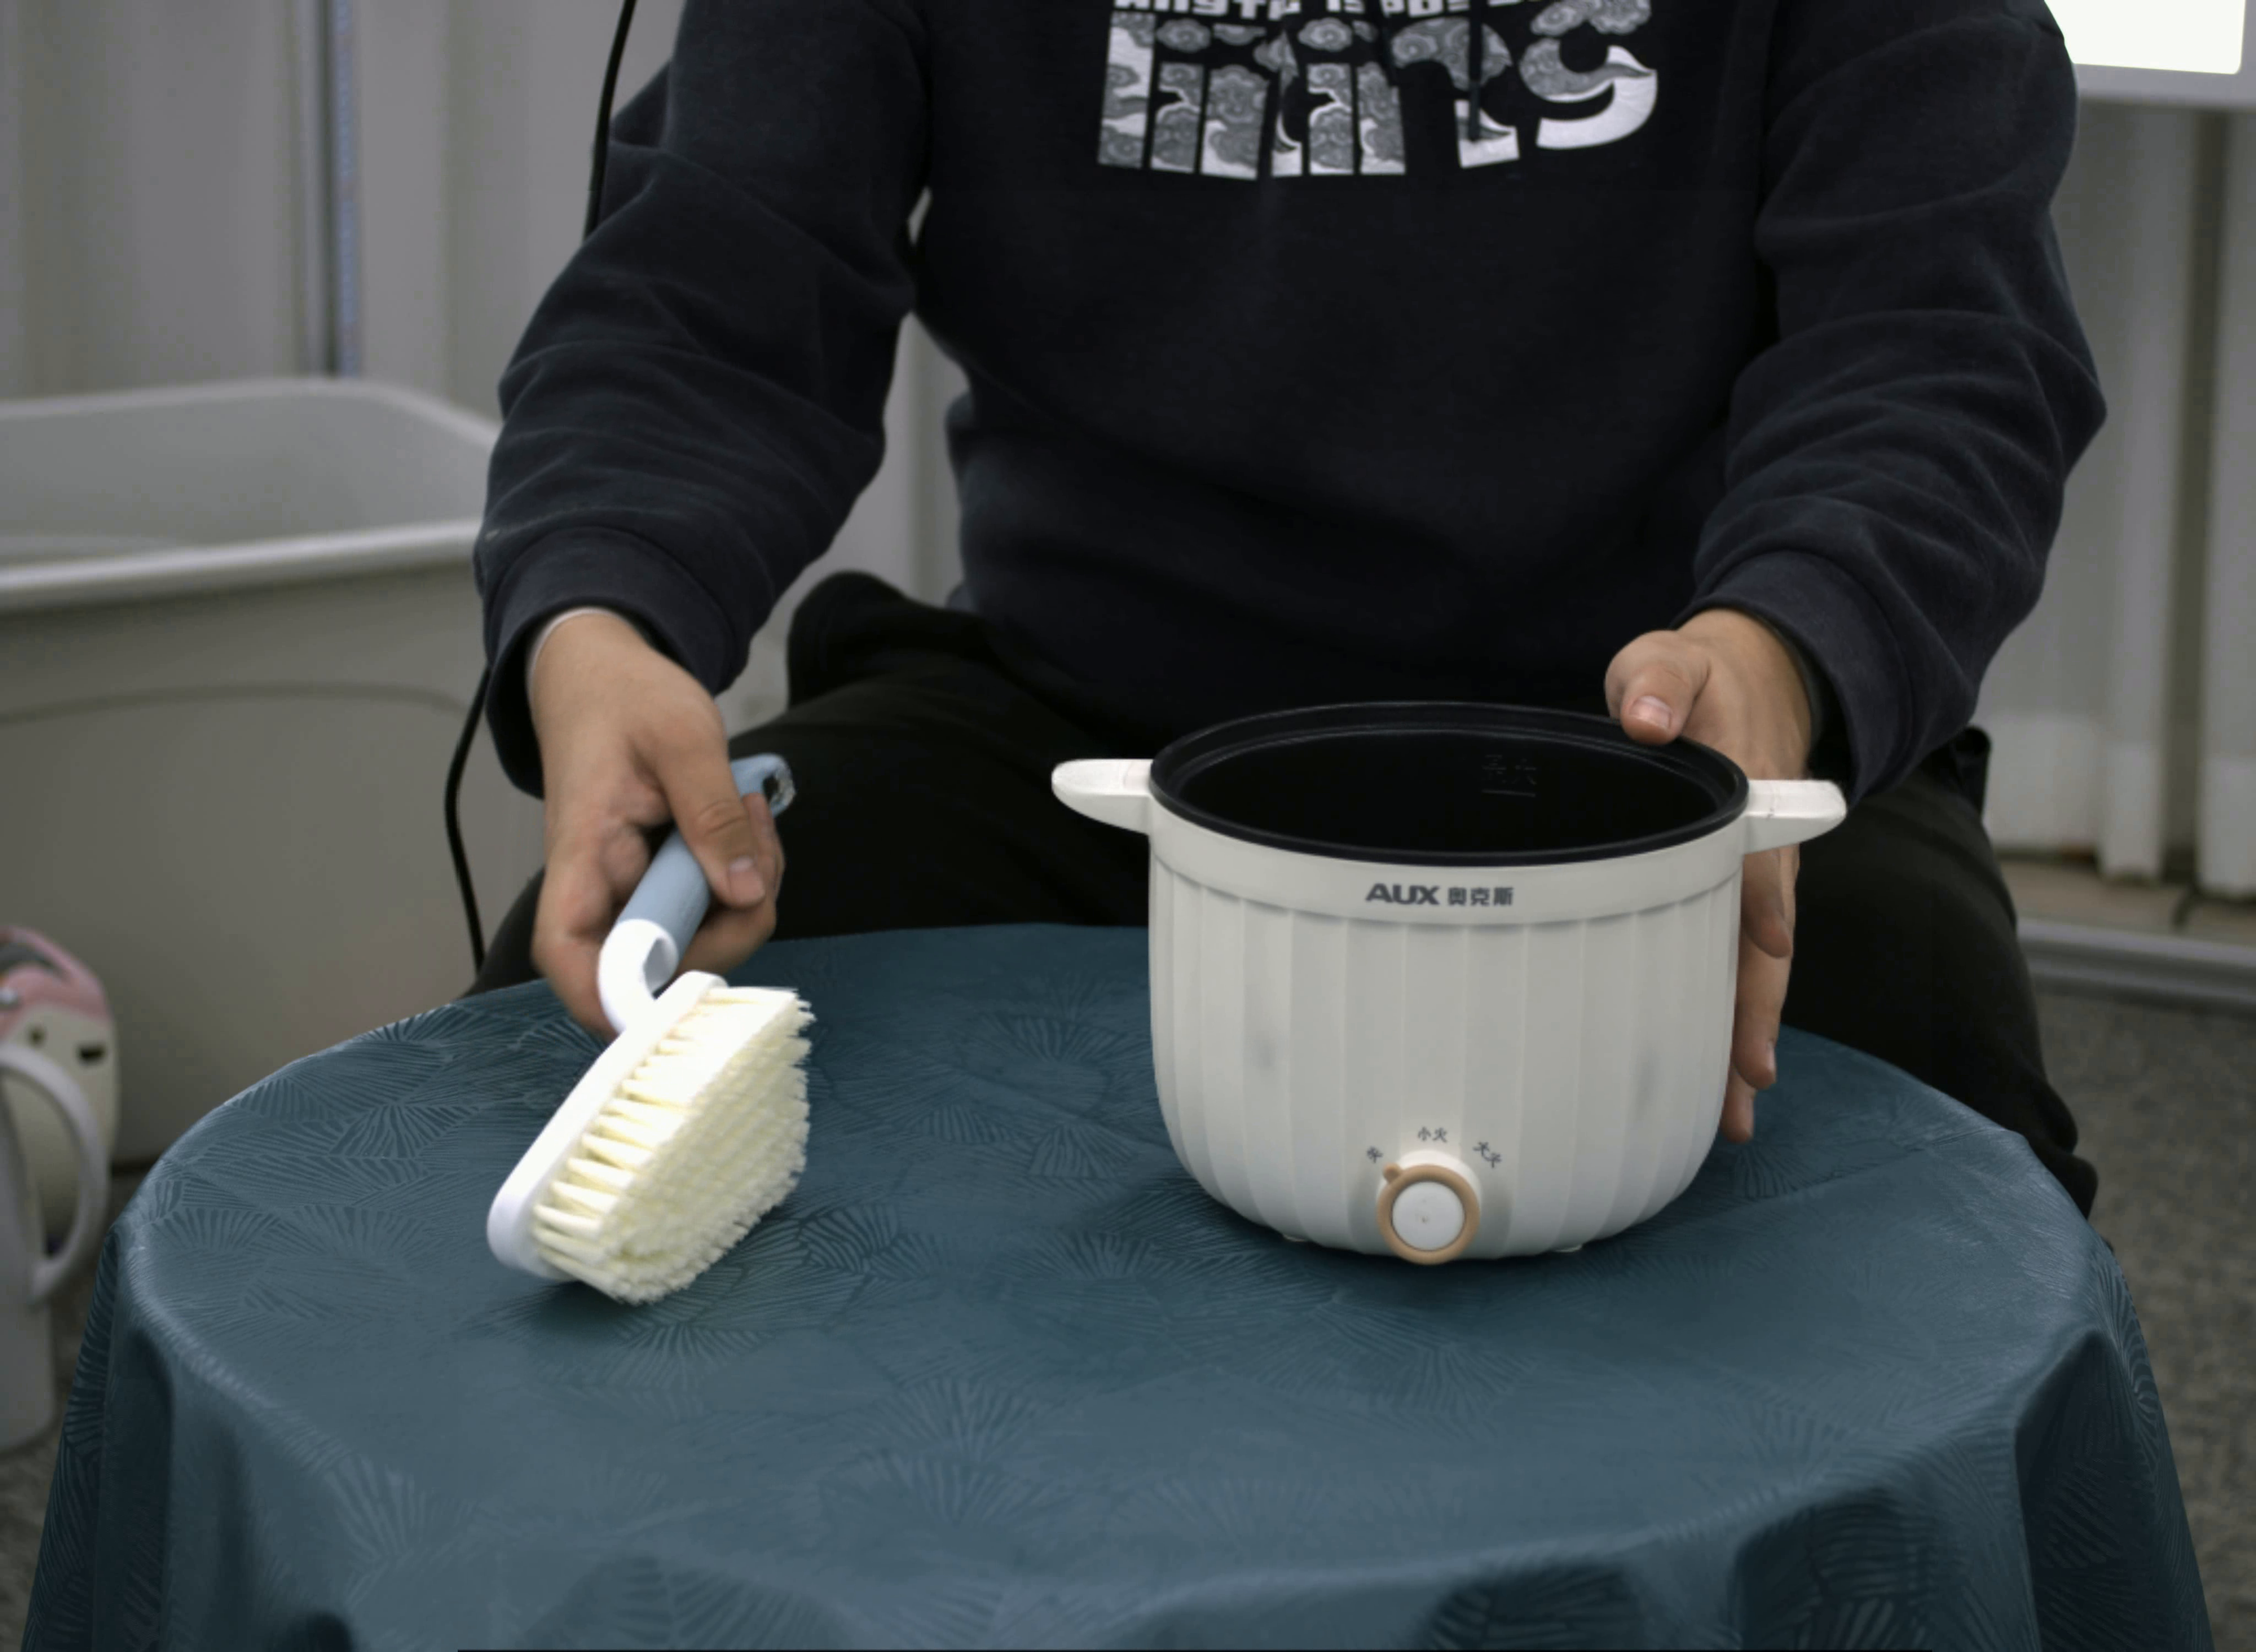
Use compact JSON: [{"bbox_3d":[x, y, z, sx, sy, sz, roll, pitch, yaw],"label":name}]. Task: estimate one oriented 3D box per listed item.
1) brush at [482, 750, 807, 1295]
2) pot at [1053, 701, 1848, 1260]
[{"bbox_3d":[-0.120,0.049,1.642,0.085,0.083,0.324,39,26,-9],"label":"brush"},{"bbox_3d":[0.097,0.049,1.599,0.239,0.143,0.190,1,13,4],"label":"pot"}]
